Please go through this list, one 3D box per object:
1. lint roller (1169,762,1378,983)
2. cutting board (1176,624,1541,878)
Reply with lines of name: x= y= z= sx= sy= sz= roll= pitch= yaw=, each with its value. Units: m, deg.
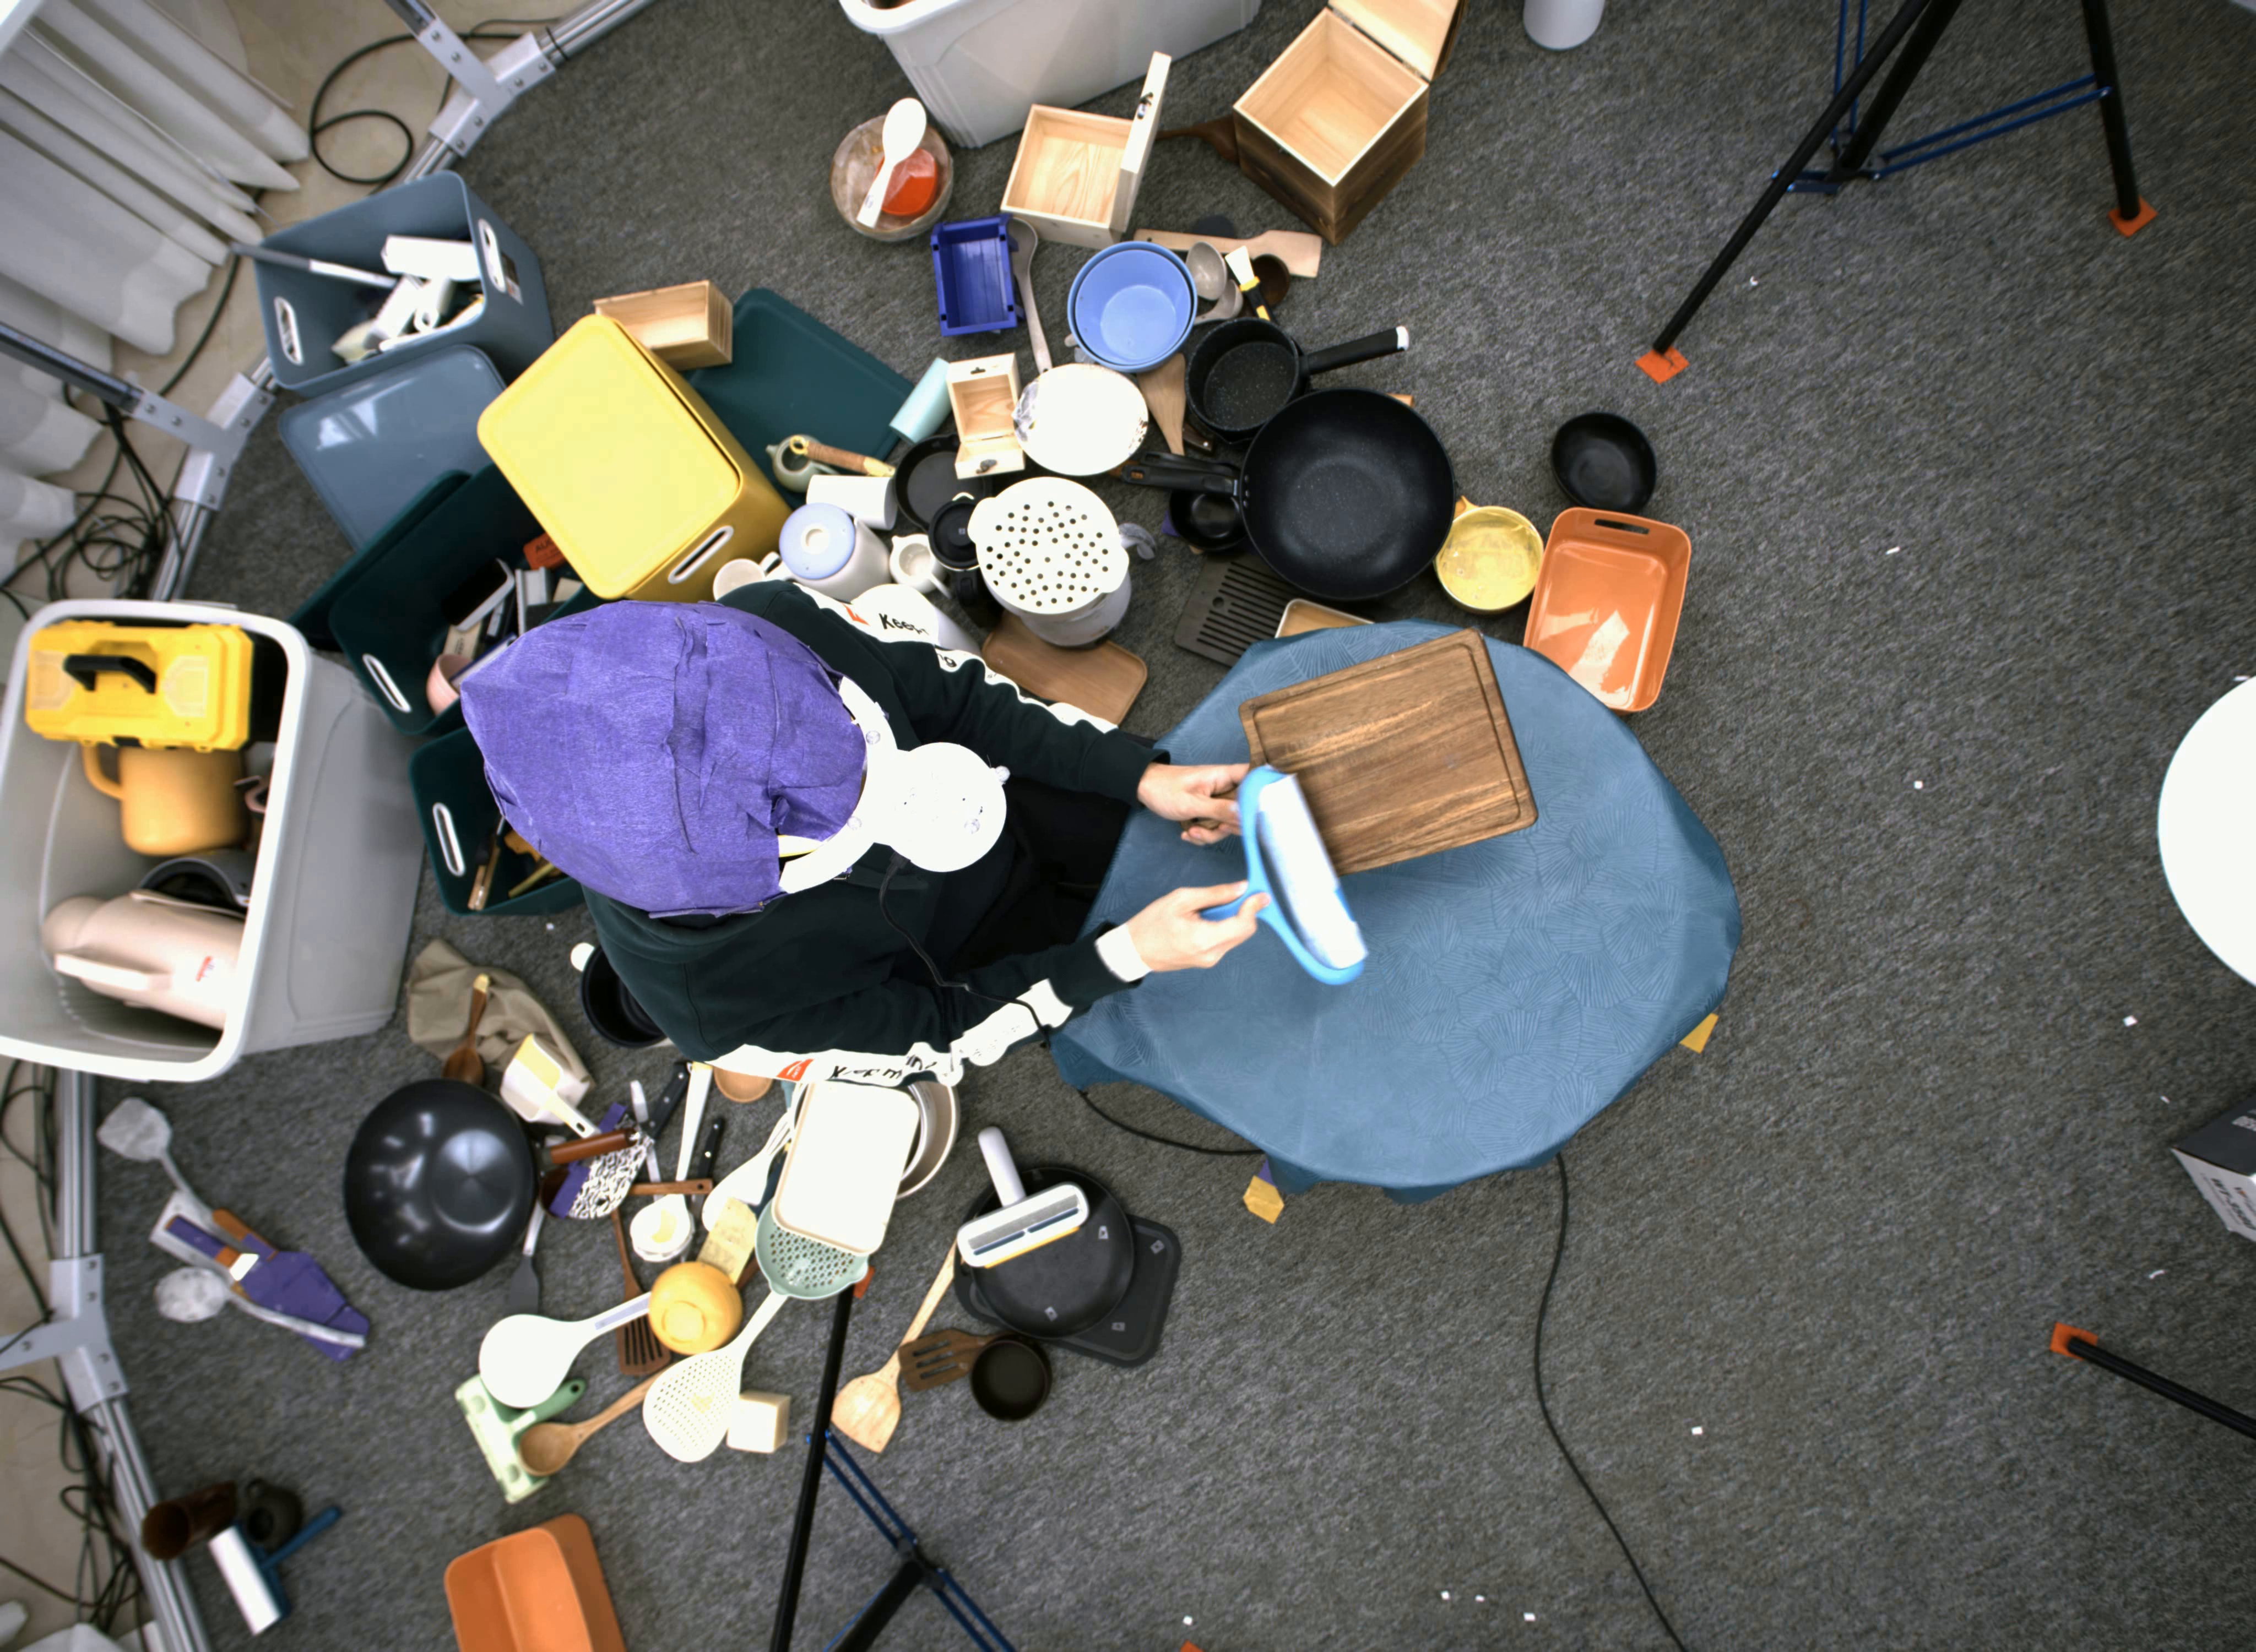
lint roller: x=0.128 y=0.070 z=1.345 sx=0.180 sy=0.068 sz=0.229 roll=-26 pitch=95 yaw=-5
cutting board: x=0.204 y=-0.050 z=1.351 sx=0.356 sy=0.023 sz=0.202 roll=-17 pitch=97 yaw=27
